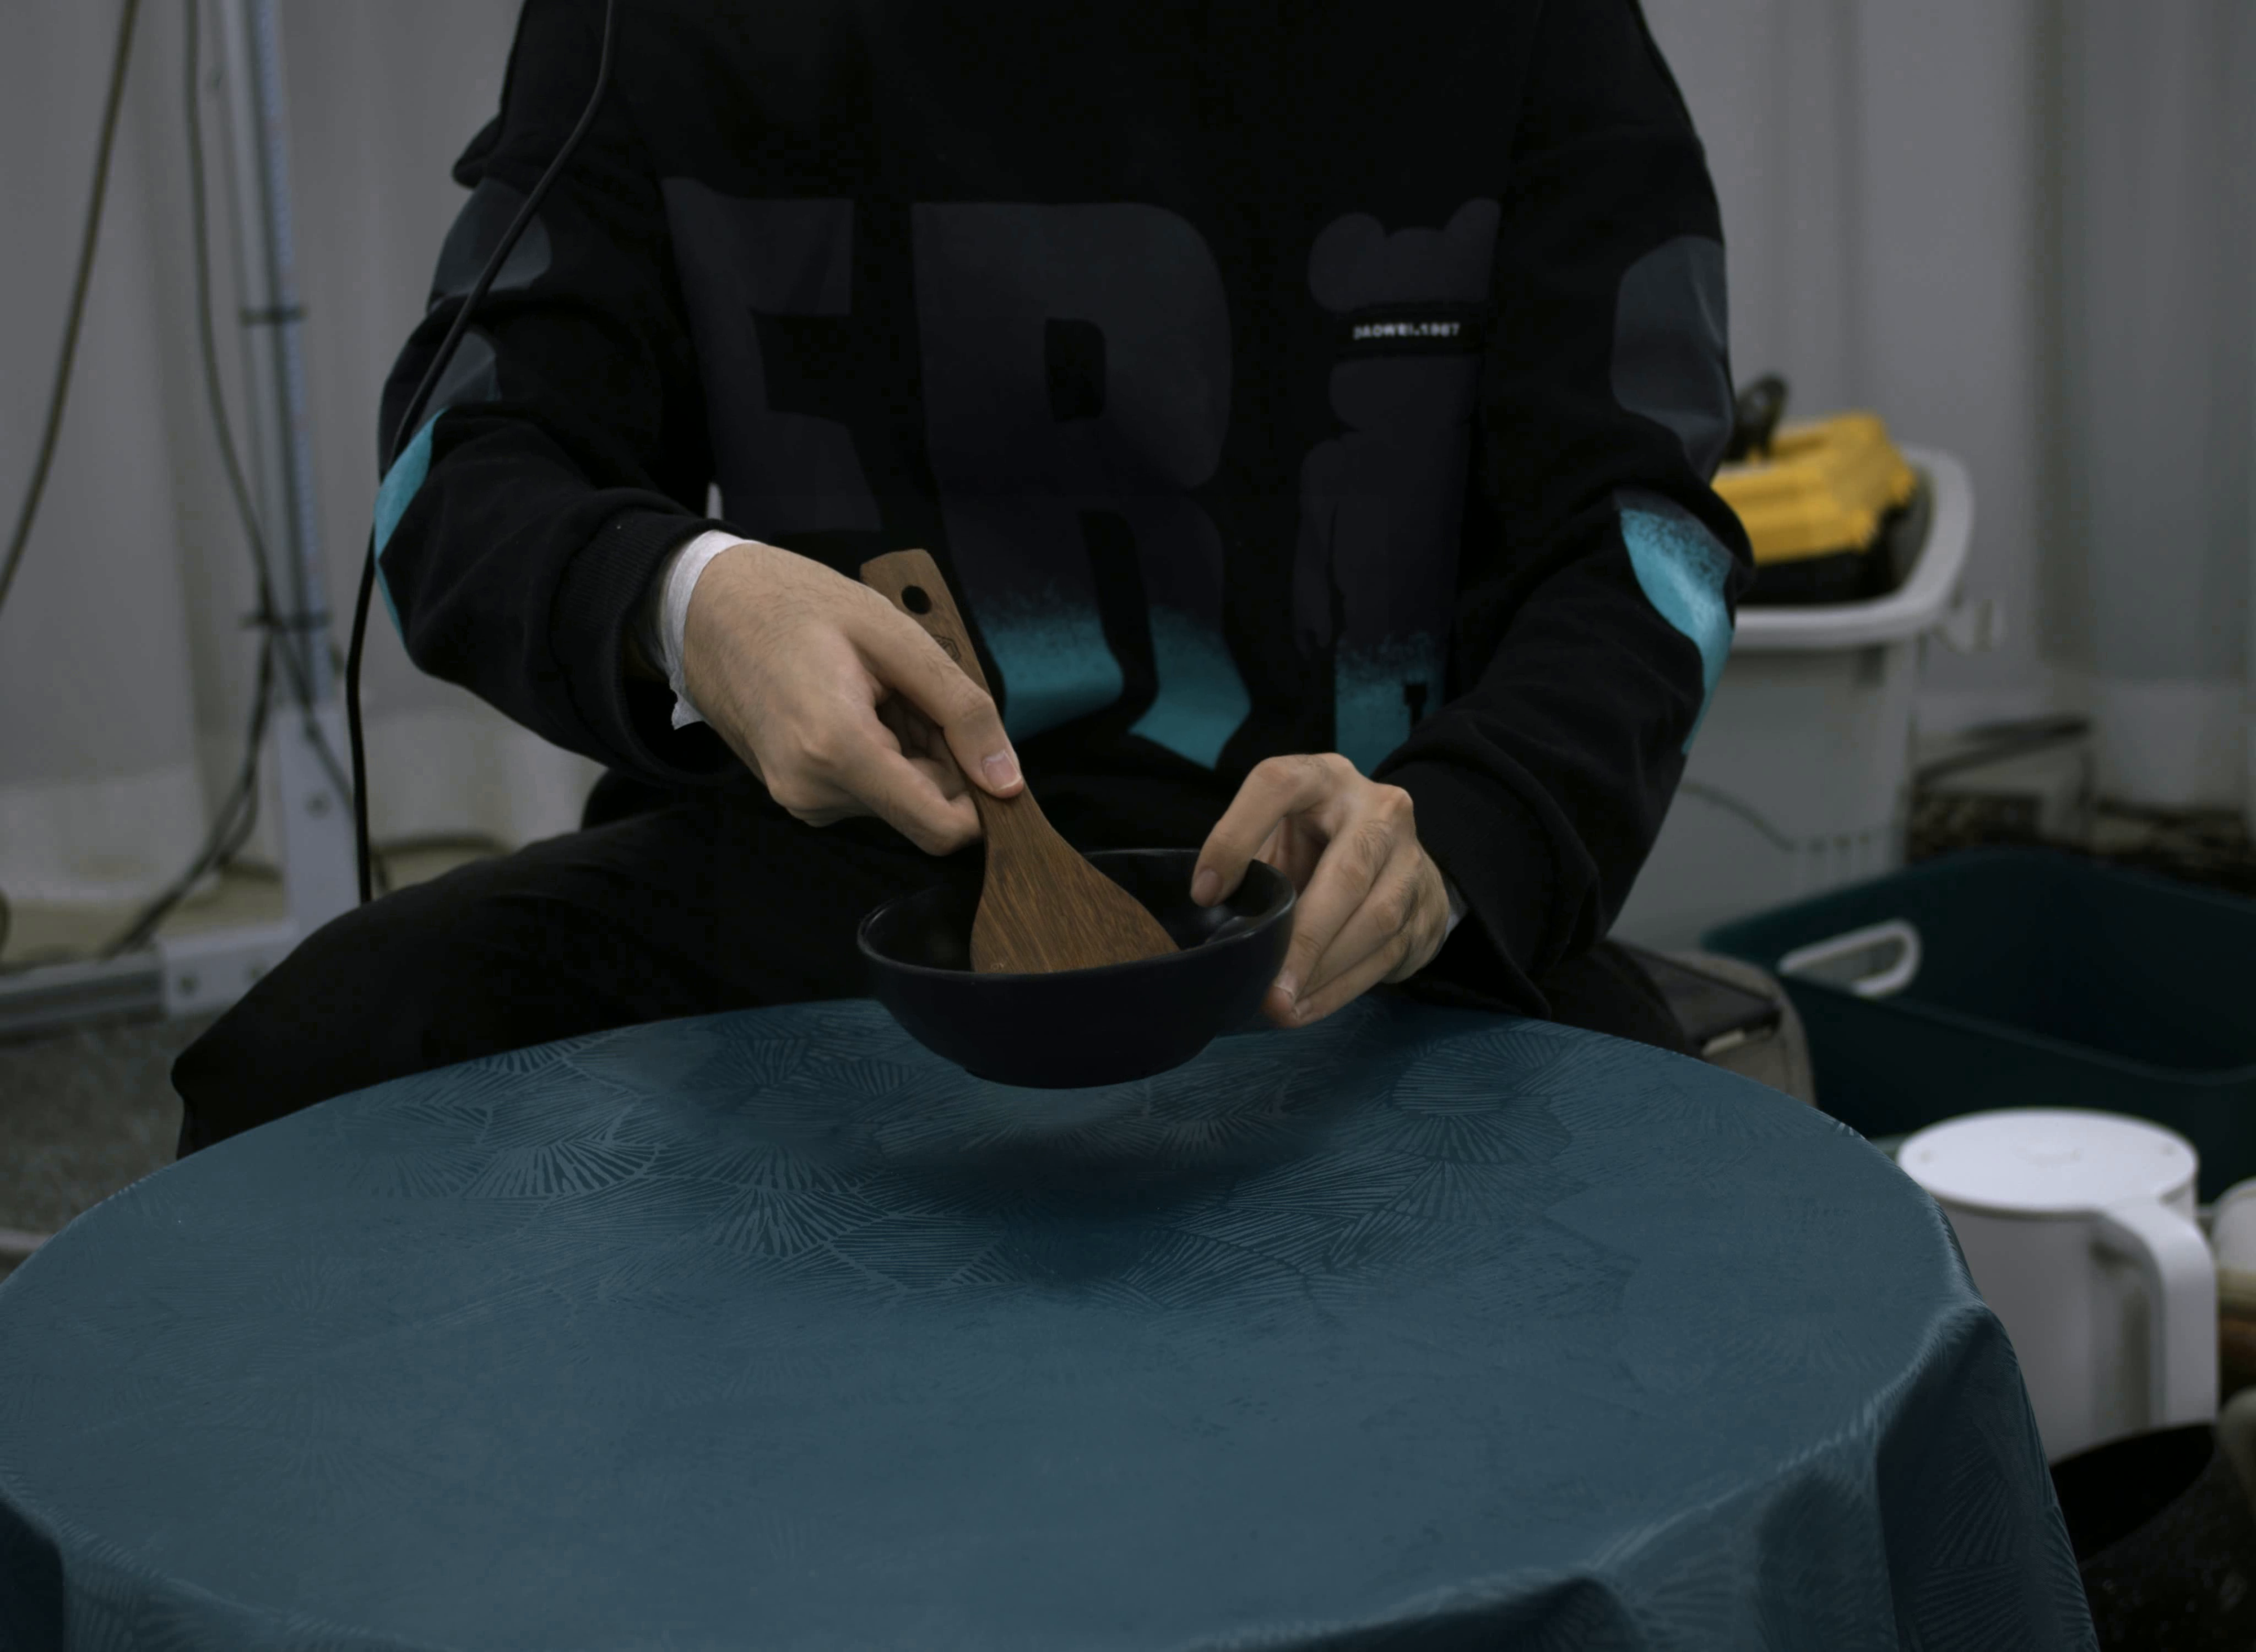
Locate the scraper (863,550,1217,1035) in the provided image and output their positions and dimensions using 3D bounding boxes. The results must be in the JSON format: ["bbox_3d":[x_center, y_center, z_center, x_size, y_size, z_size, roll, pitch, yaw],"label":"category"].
[{"bbox_3d":[-0.039,-0.008,1.751,0.075,0.011,0.214,-7,53,-26],"label":"scraper"}]

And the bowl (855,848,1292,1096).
[{"bbox_3d":[-0.014,0.050,1.713,0.139,0.049,0.141,-9,14,2],"label":"bowl"}]
